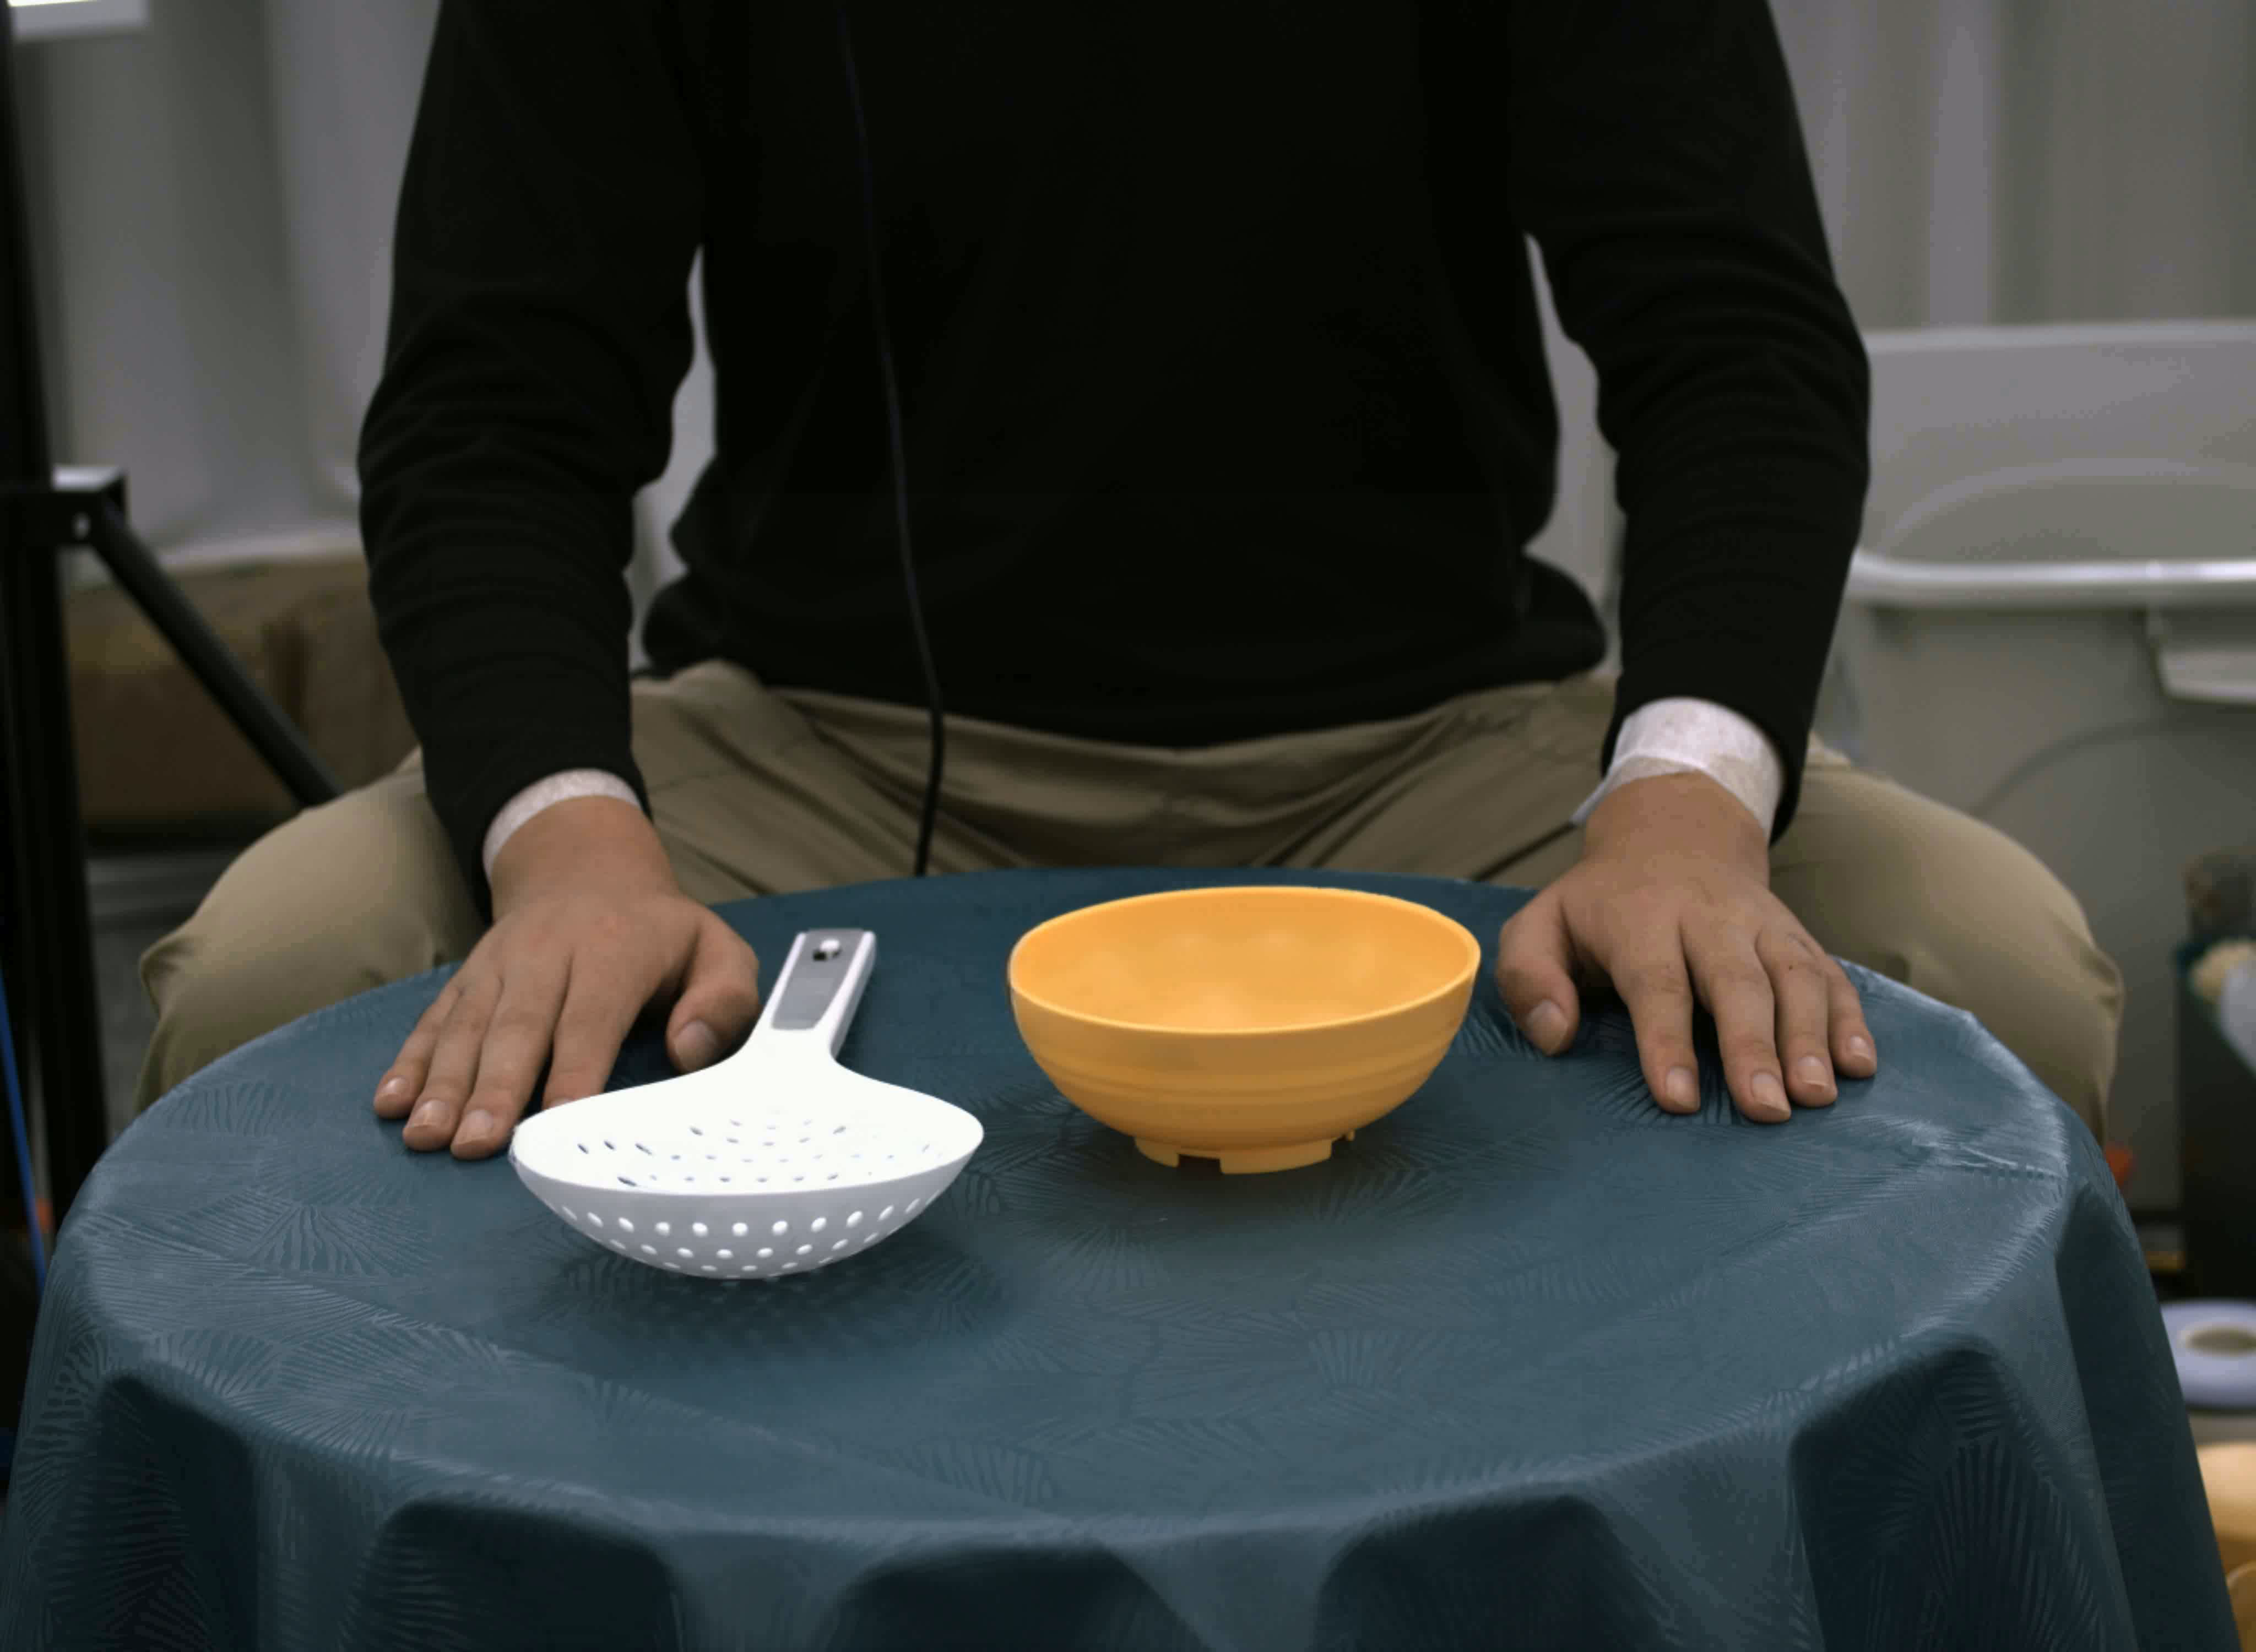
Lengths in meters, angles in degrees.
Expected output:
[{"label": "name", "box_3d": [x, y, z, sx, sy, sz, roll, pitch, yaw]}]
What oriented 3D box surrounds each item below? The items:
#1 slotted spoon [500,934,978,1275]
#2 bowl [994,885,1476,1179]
[{"label": "slotted spoon", "box_3d": [-0.106, 0.074, 1.609, 0.136, 0.046, 0.350, -1, 15, 3]}, {"label": "bowl", "box_3d": [0.032, 0.067, 1.593, 0.144, 0.060, 0.146, -1, 16, -1]}]
